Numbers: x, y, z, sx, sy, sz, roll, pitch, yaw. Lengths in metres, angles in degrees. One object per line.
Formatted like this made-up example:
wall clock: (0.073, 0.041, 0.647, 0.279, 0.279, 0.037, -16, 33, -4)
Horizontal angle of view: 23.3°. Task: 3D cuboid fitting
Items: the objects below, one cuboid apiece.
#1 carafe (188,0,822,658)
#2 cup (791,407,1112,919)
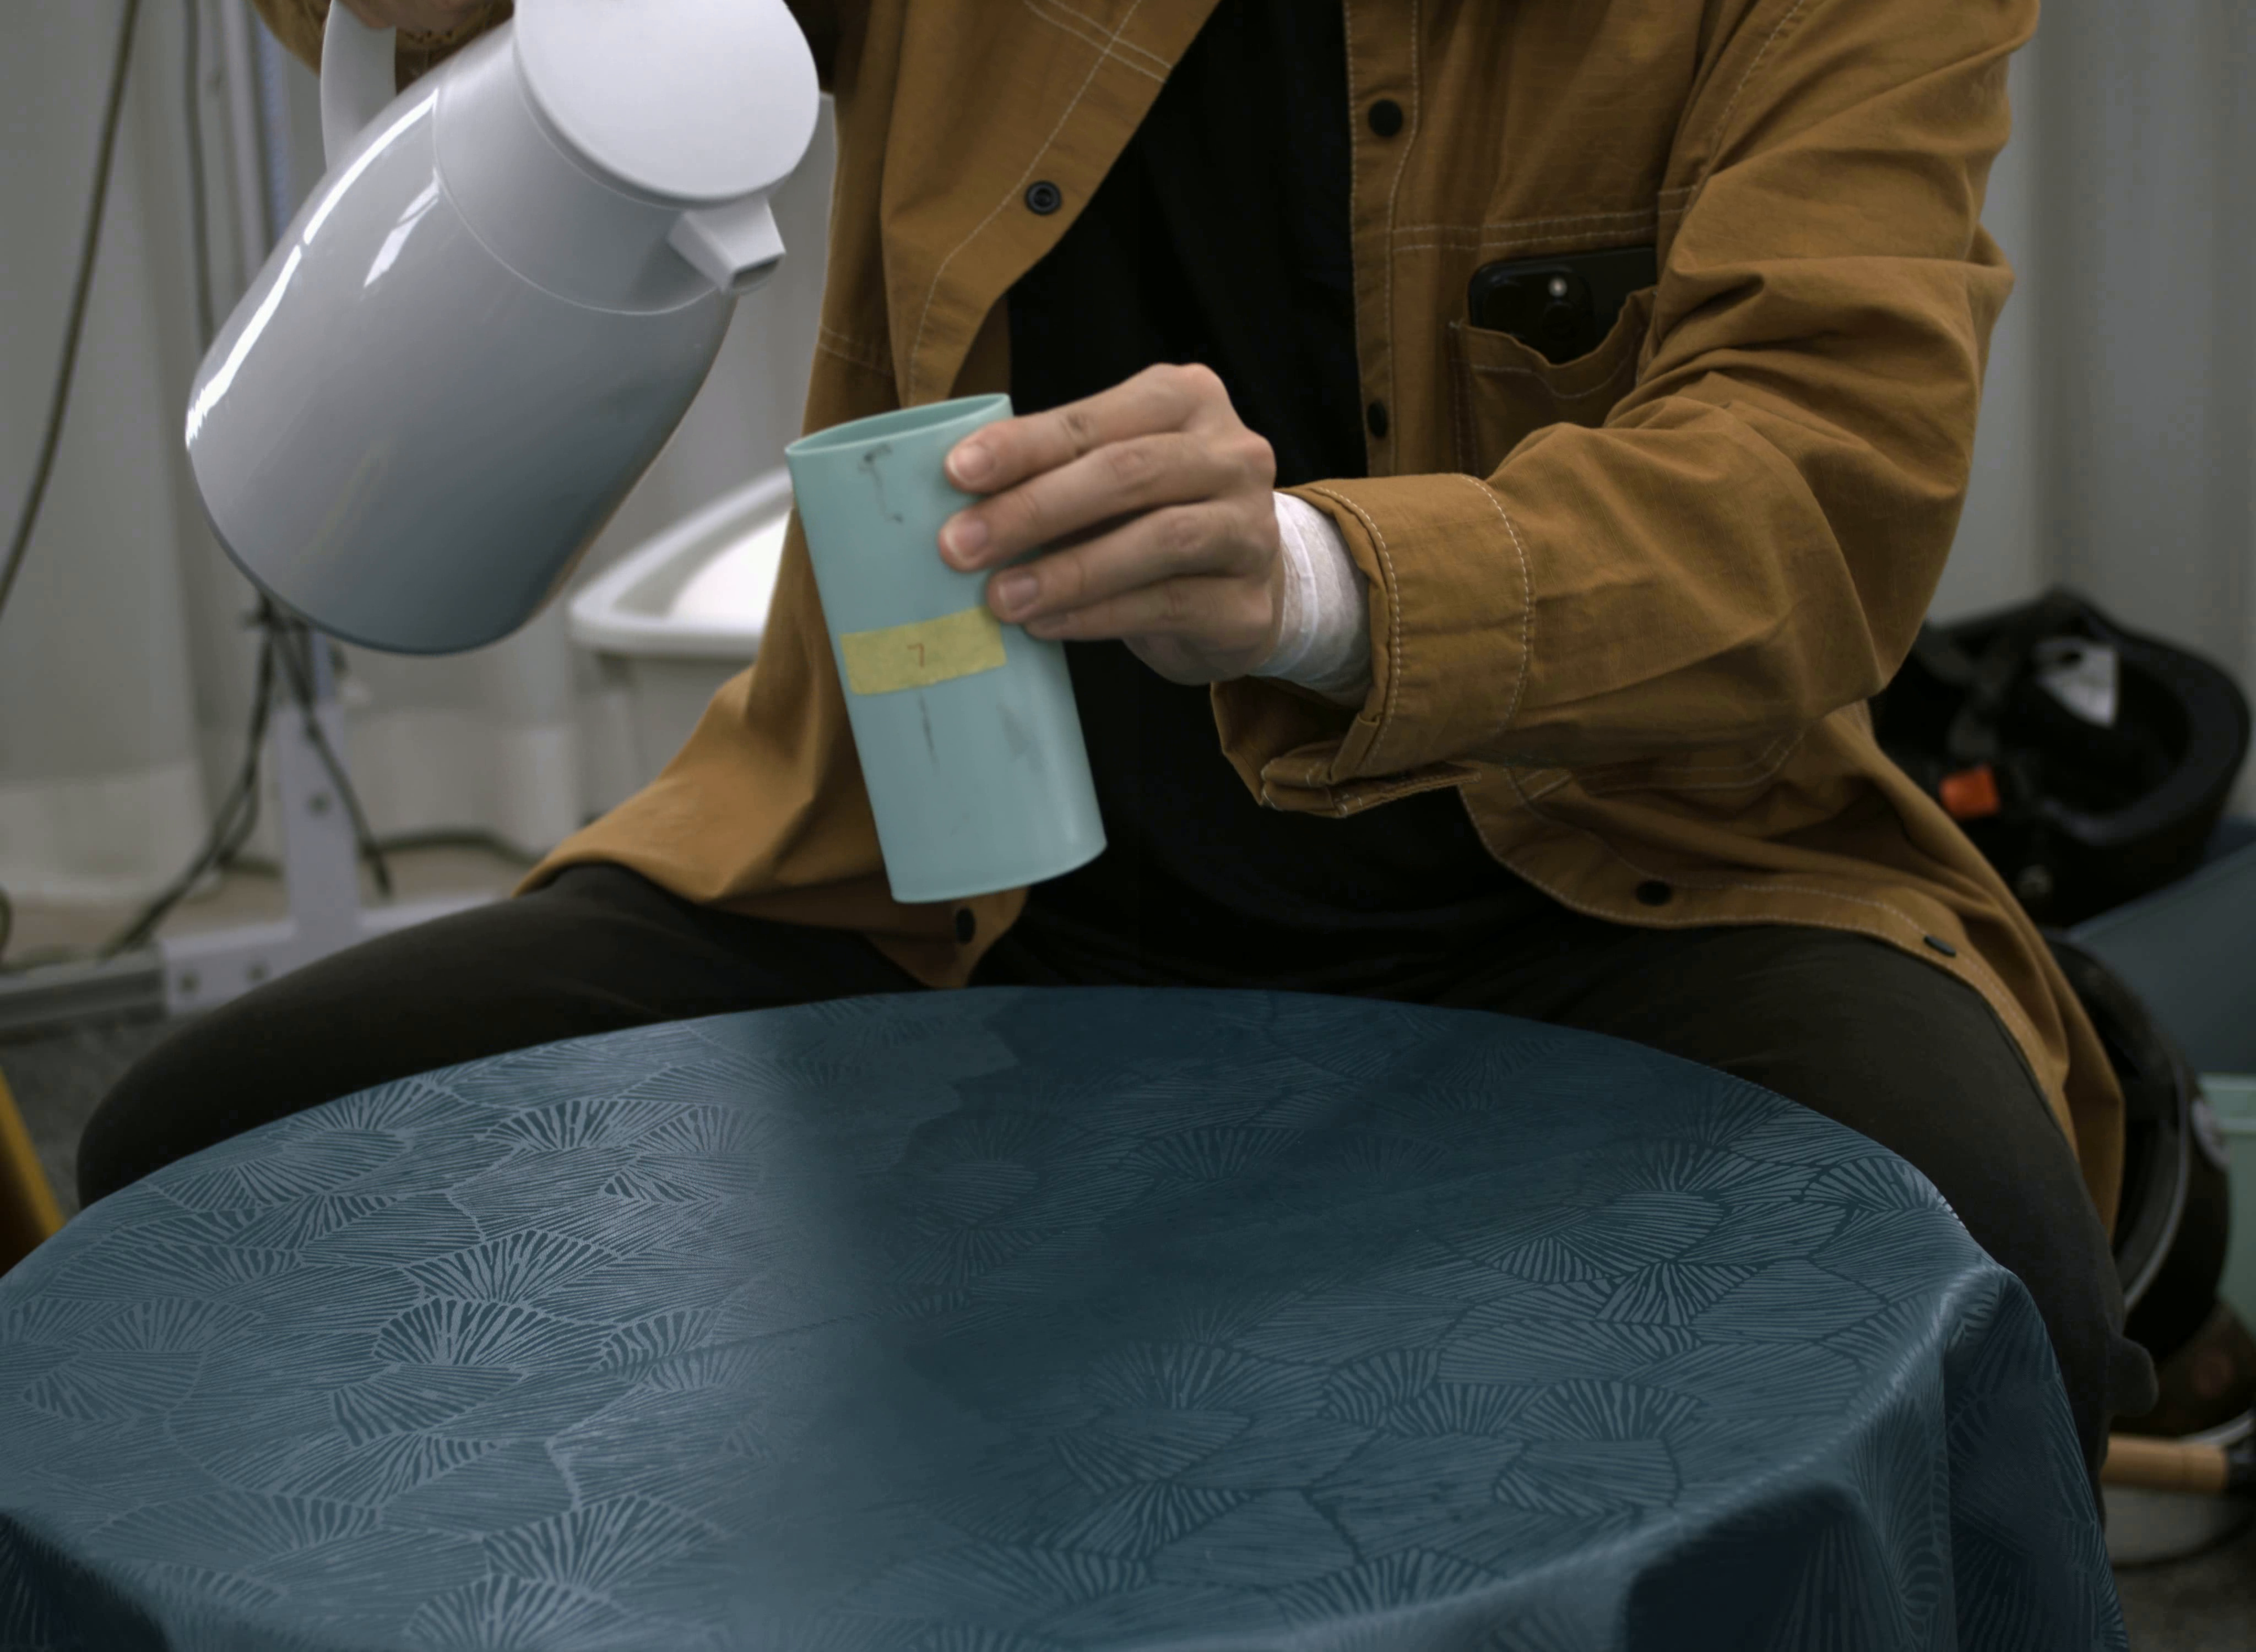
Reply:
carafe: (-0.188, -0.180, 1.623, 0.132, 0.169, 0.247, -25, -14, -36)
cup: (-0.048, -0.047, 1.531, 0.066, 0.132, 0.067, -12, 9, 2)
